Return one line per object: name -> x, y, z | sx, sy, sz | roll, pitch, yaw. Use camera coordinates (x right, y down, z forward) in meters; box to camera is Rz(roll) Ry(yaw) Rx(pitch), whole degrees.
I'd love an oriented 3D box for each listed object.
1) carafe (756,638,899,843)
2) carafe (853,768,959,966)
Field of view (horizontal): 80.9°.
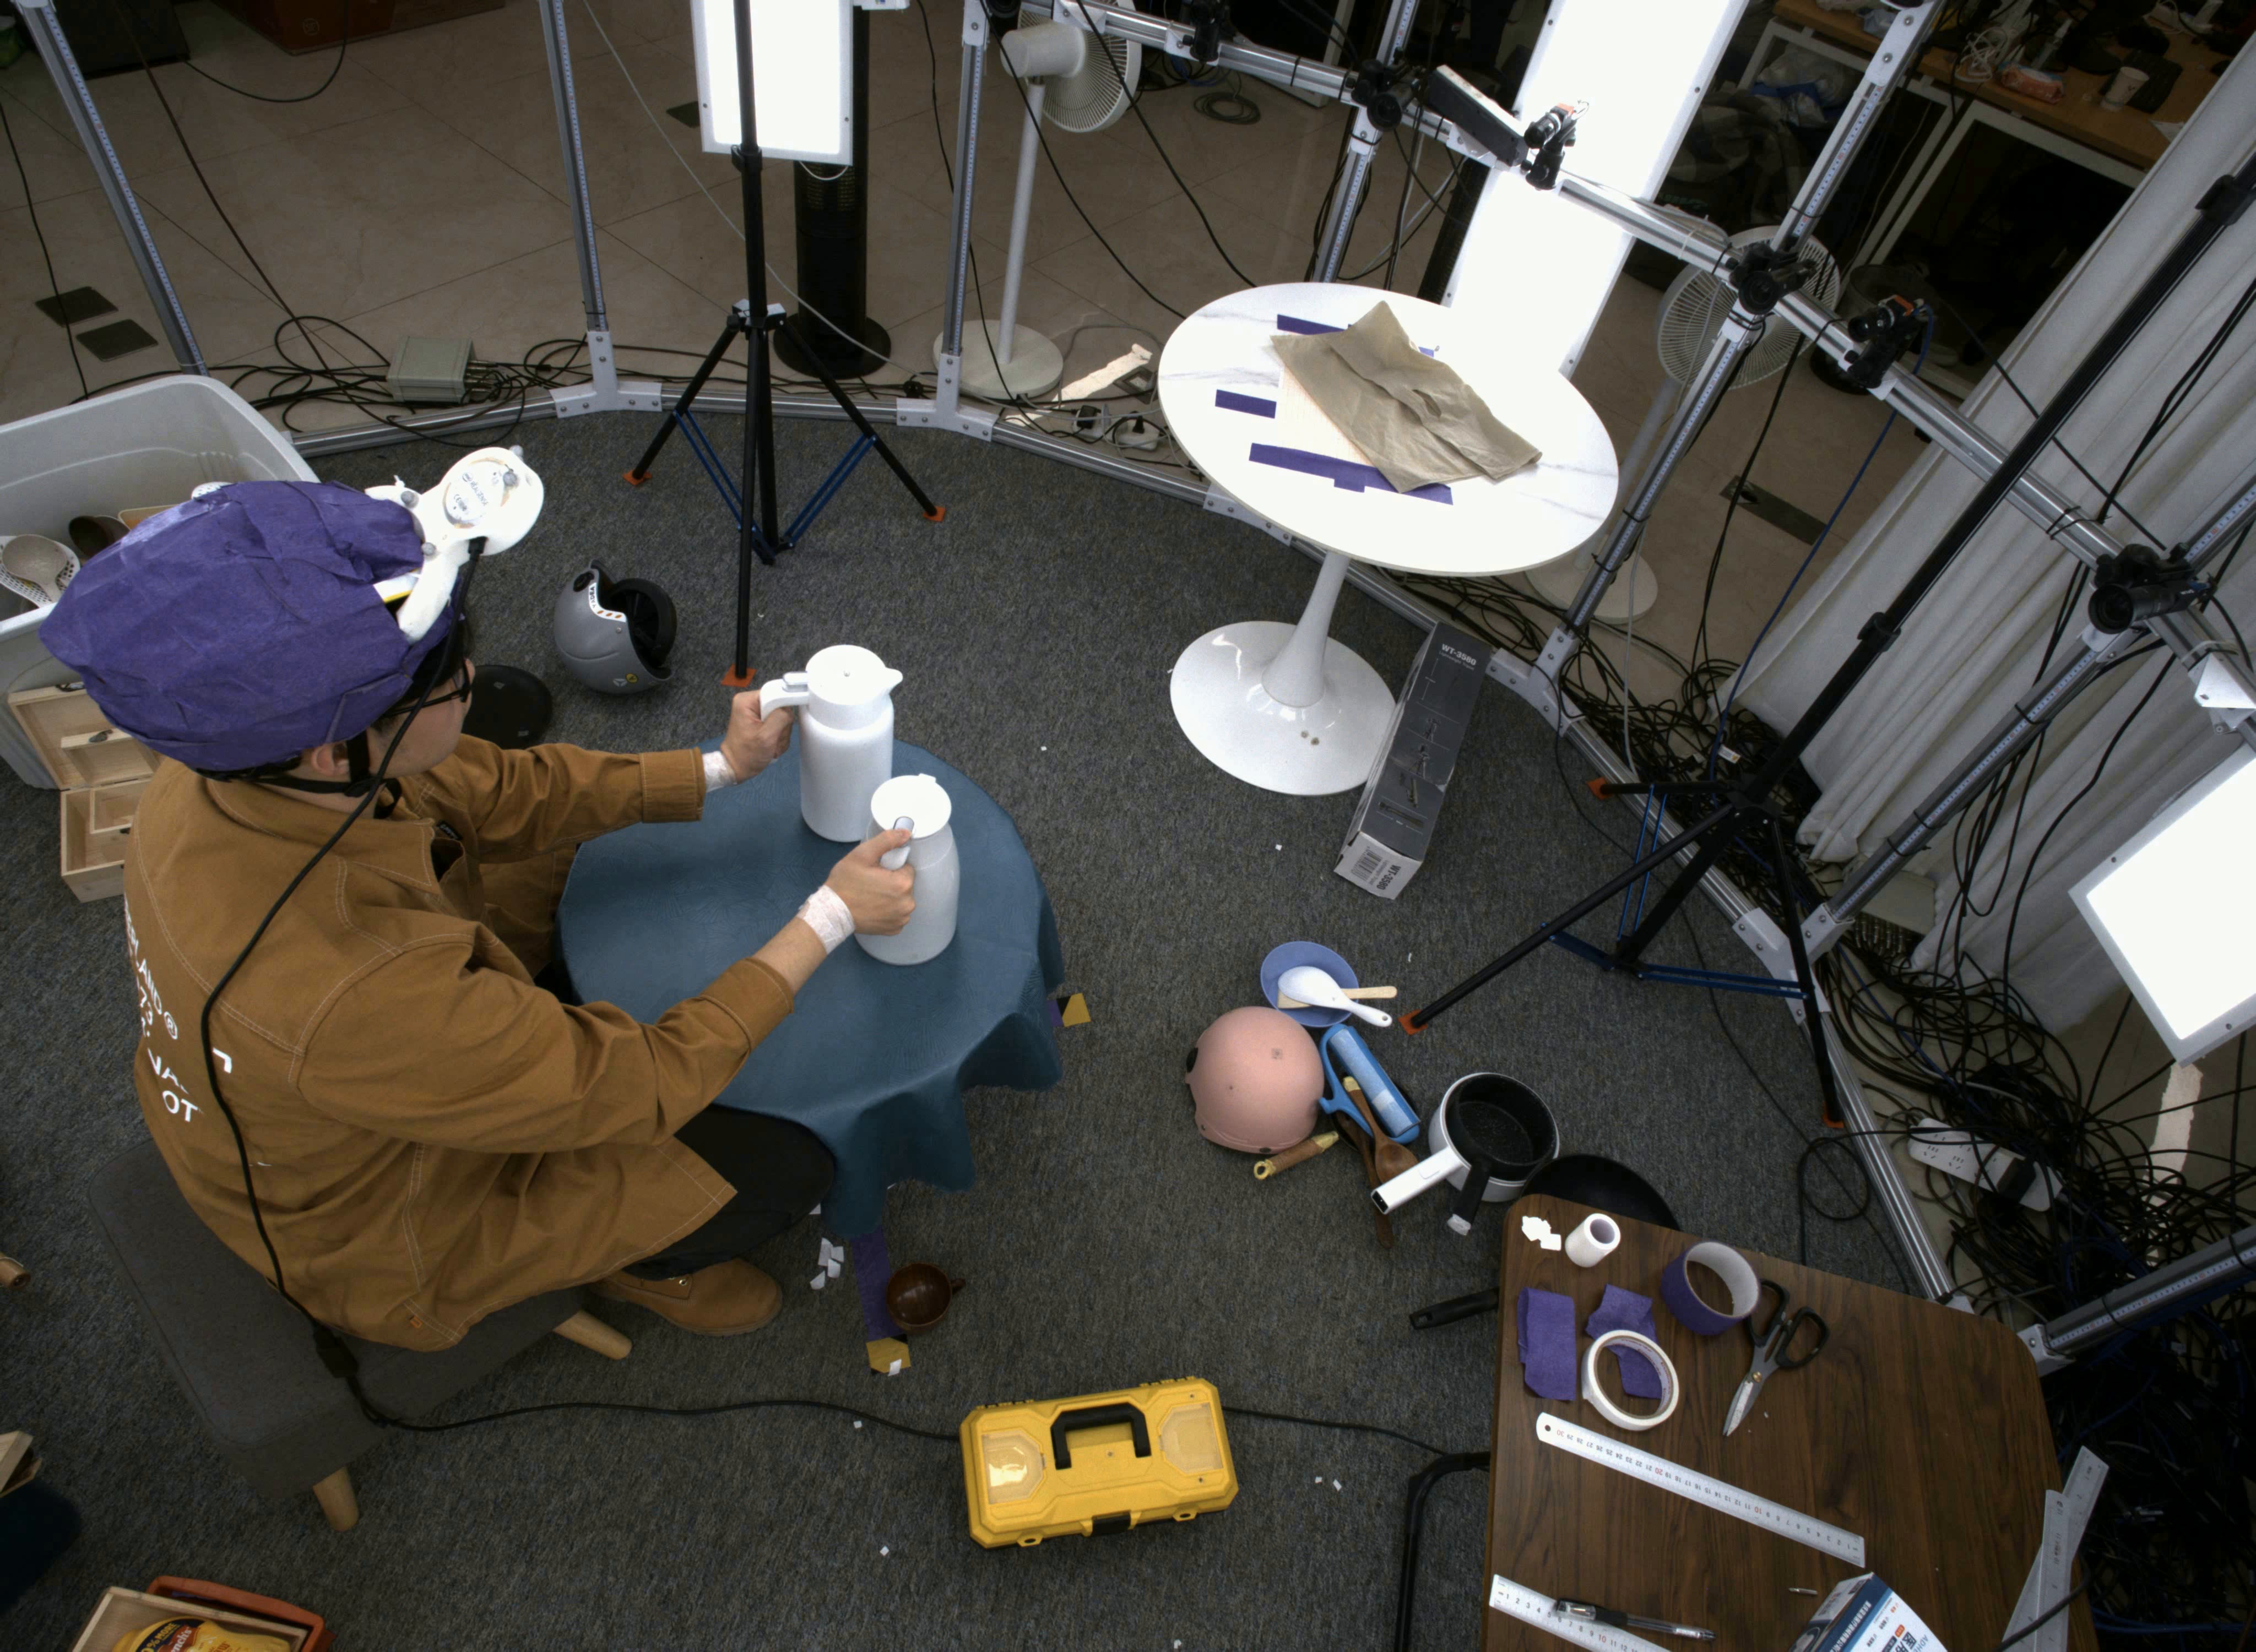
carafe -> -0.376, -0.102, 1.637 | 0.173, 0.274, 0.121 | -8, 56, -17
carafe -> -0.270, 0.059, 1.556 | 0.131, 0.254, 0.165 | 15, 51, 0
